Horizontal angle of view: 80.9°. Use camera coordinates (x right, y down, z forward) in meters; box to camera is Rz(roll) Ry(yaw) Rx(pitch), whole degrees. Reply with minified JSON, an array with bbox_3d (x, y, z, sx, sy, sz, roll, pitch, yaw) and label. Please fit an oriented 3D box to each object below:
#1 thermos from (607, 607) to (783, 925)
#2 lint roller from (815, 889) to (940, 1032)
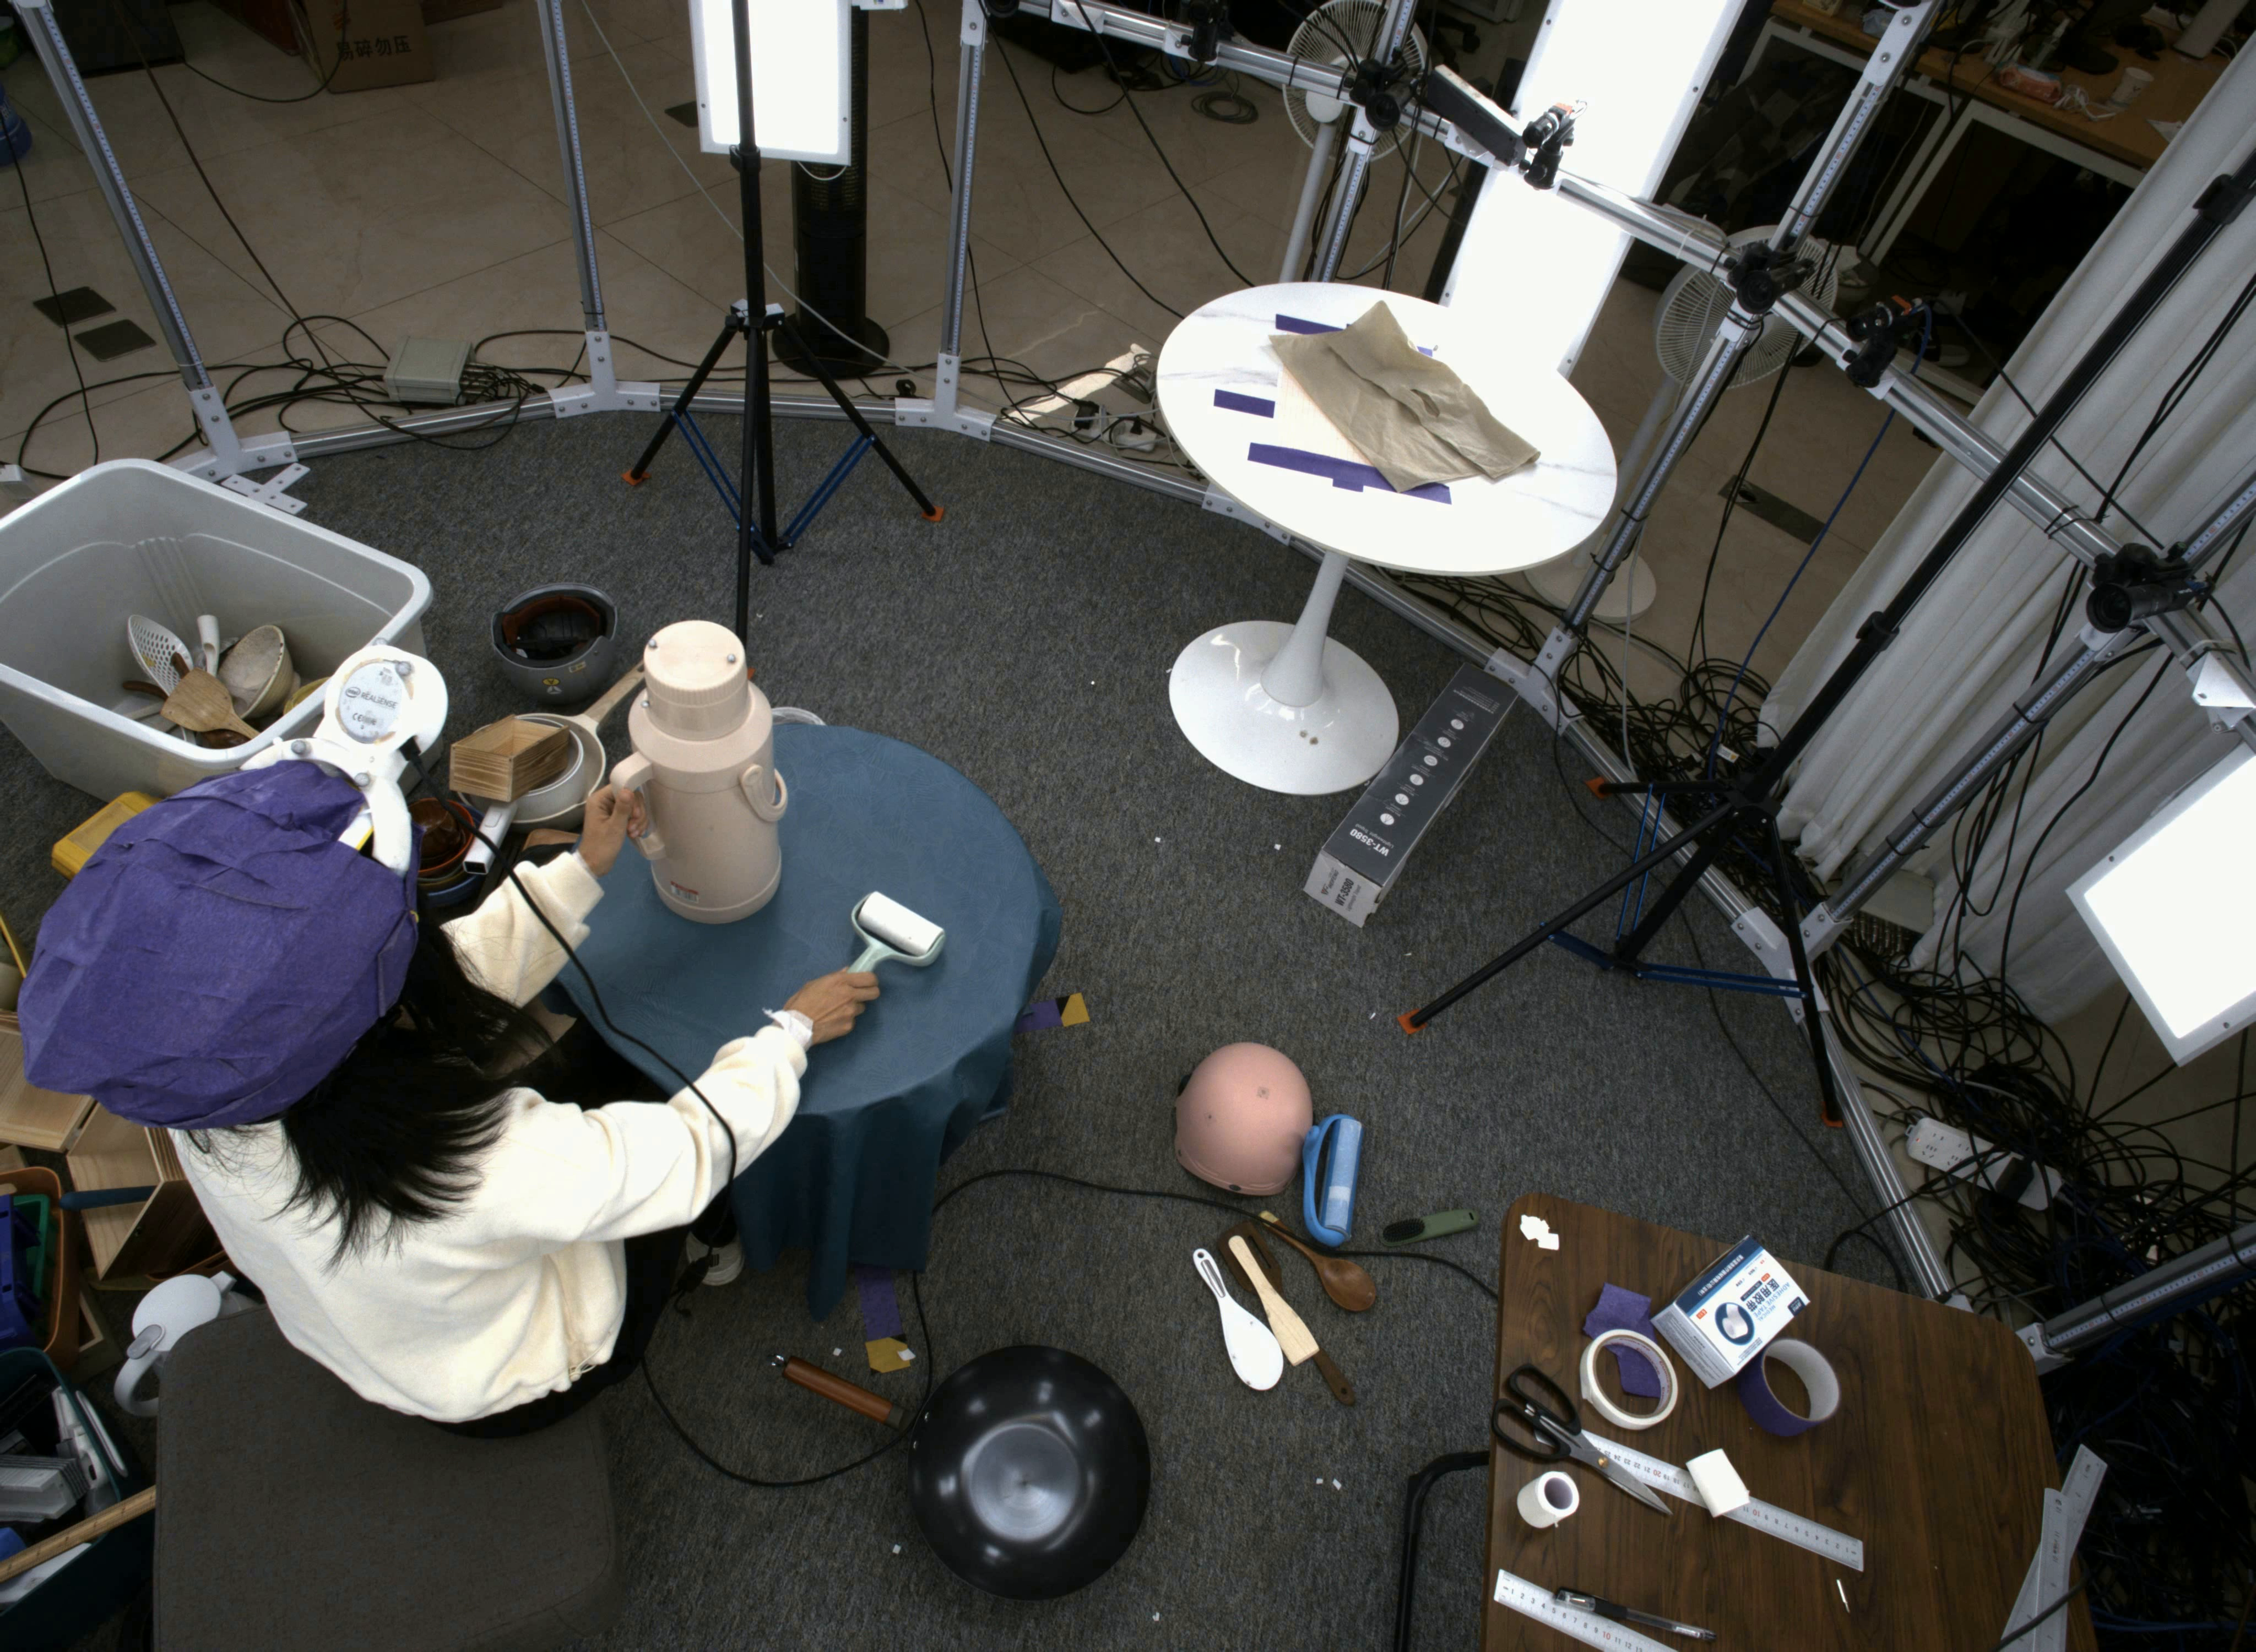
[{"bbox_3d":[-0.502,-0.059,1.486,0.171,0.415,0.207,37,54,17],"label":"thermos"},{"bbox_3d":[-0.322,0.164,1.580,0.115,0.049,0.196,30,46,4],"label":"lint roller"}]
